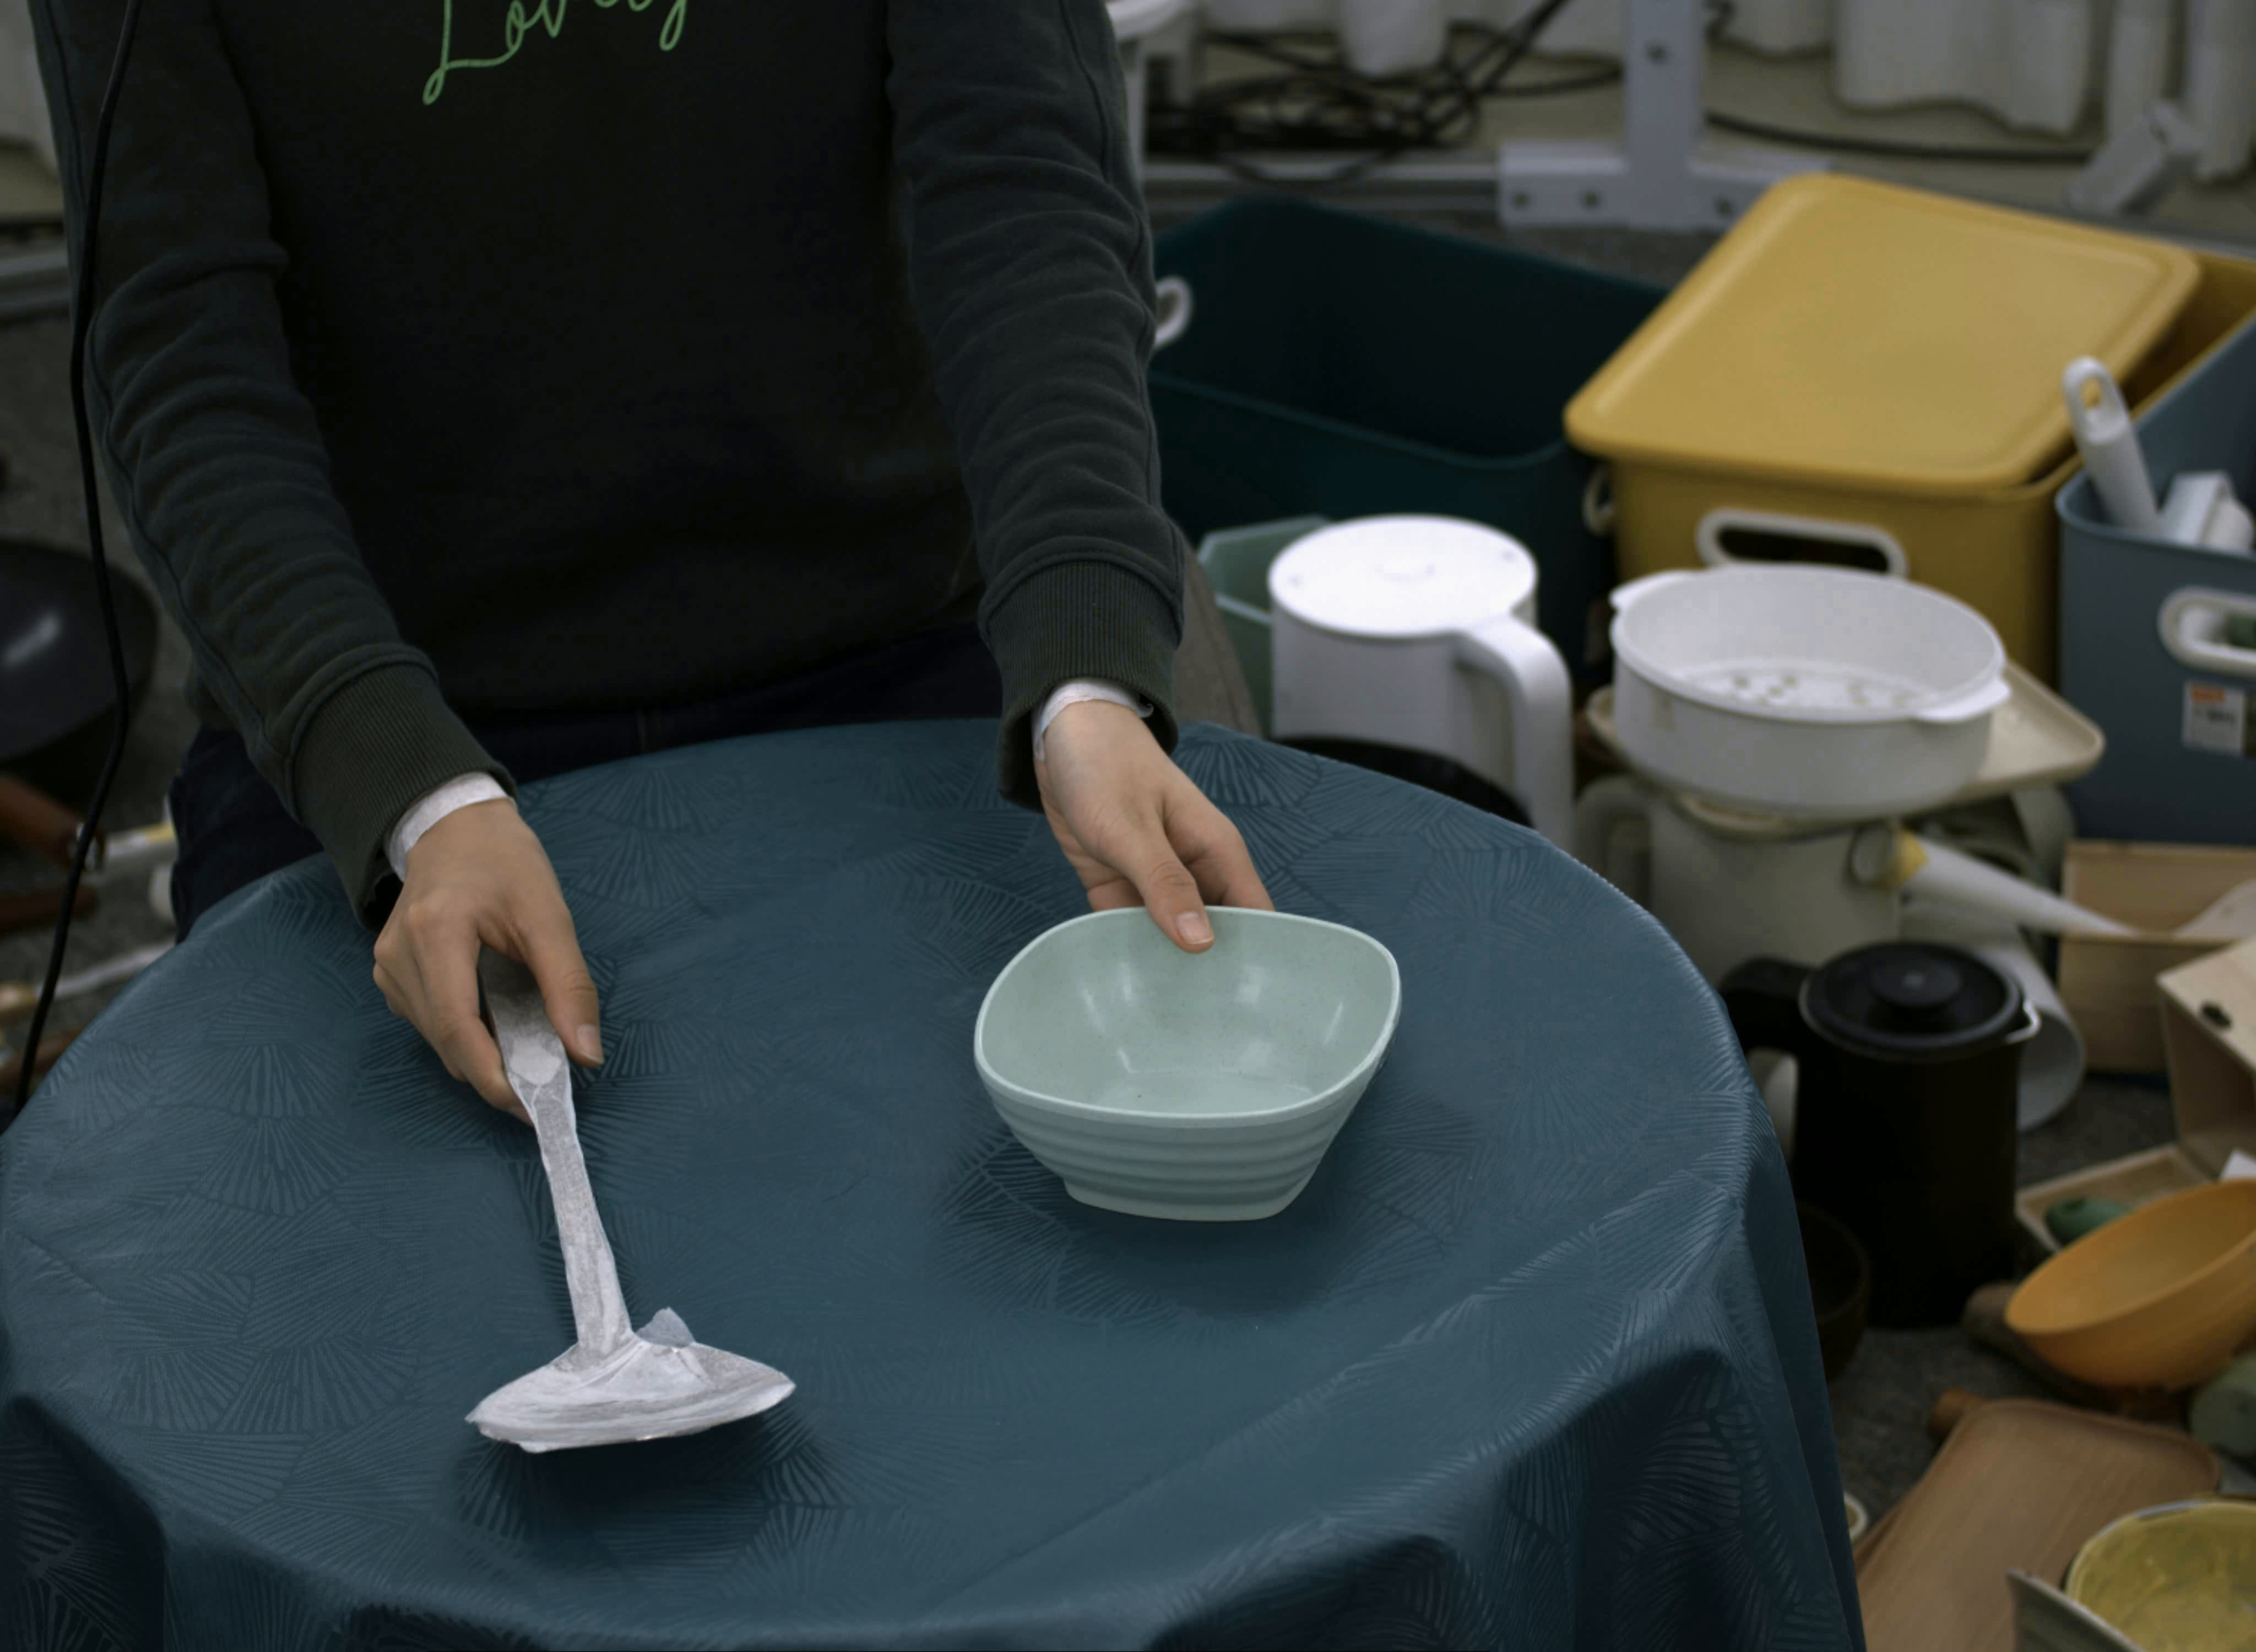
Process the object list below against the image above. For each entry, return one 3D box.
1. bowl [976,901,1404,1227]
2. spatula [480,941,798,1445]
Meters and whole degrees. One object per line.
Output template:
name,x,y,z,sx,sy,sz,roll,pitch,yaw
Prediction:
bowl,0.021,0.085,1.869,0.151,0.058,0.154,0,29,1
spatula,-0.180,0.112,1.847,0.098,0.044,0.369,-8,30,-9
